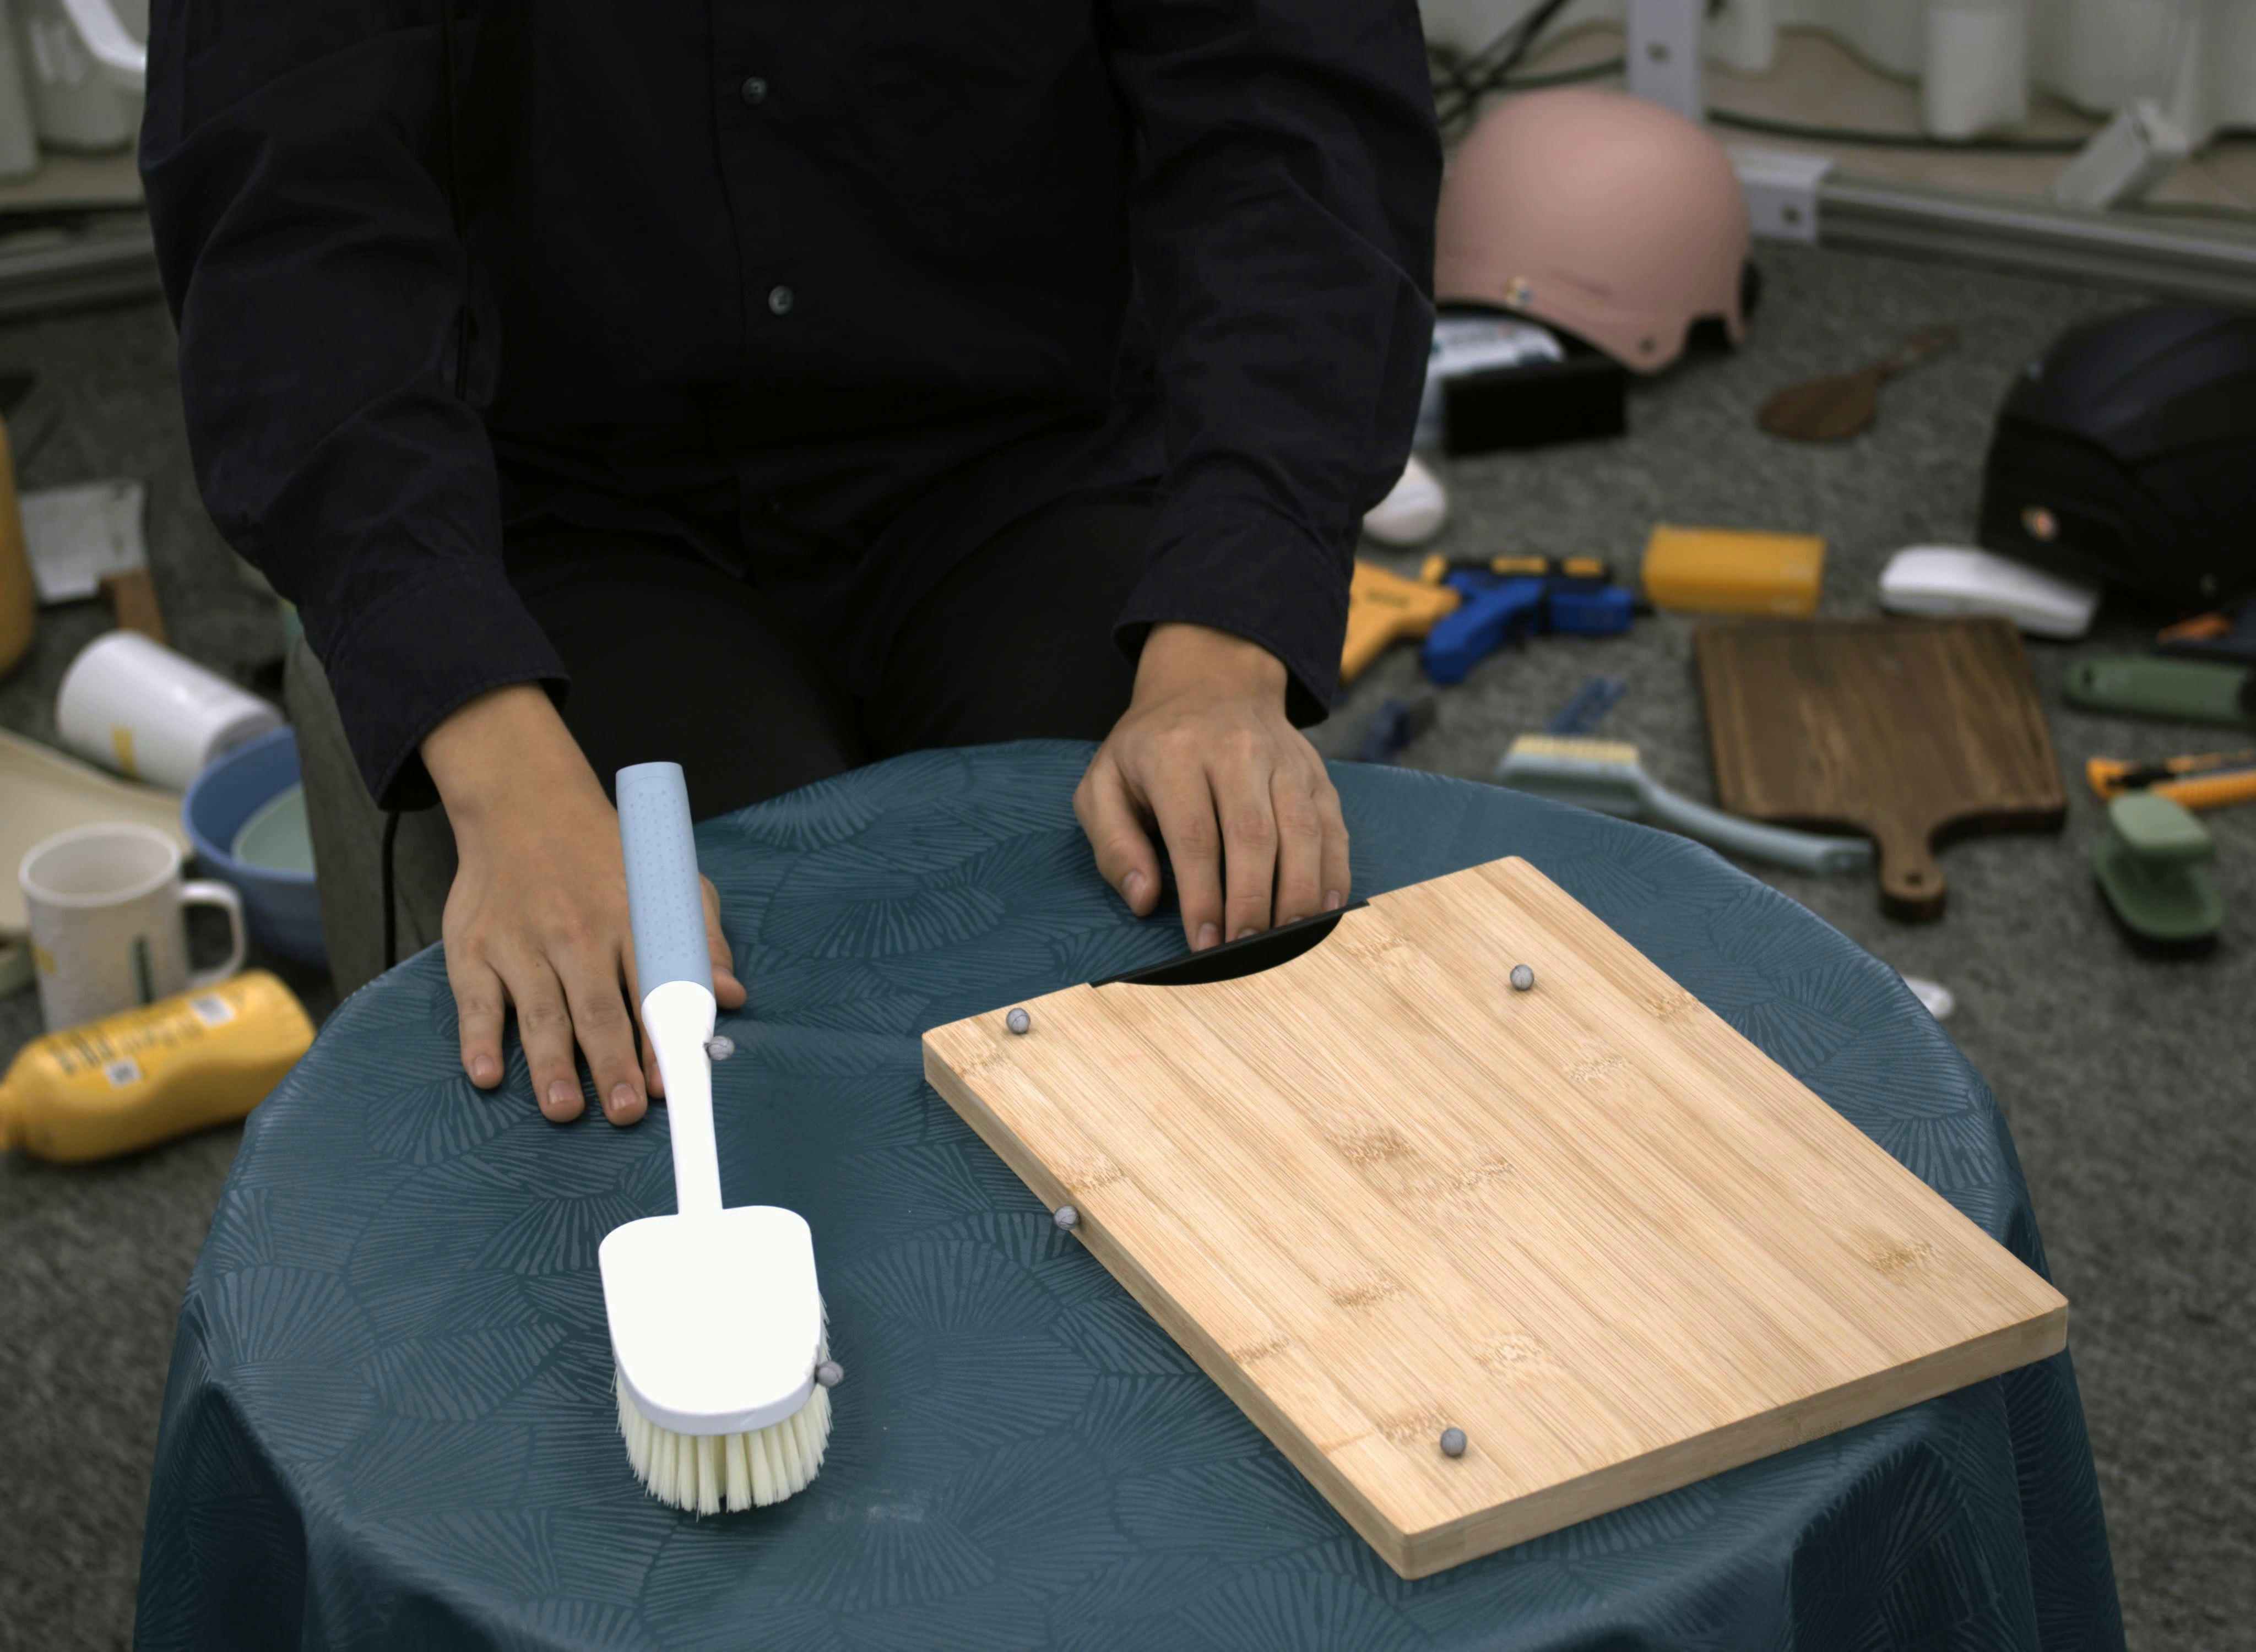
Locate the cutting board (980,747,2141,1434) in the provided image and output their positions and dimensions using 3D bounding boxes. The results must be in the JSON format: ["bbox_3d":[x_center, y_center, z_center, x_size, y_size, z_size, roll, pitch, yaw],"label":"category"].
[{"bbox_3d":[0.133,0.079,1.856,0.252,0.023,0.350,-16,31,-24],"label":"cutting board"}]

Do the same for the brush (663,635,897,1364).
[{"bbox_3d":[-0.117,0.064,1.840,0.083,0.083,0.331,26,30,-27],"label":"brush"}]
